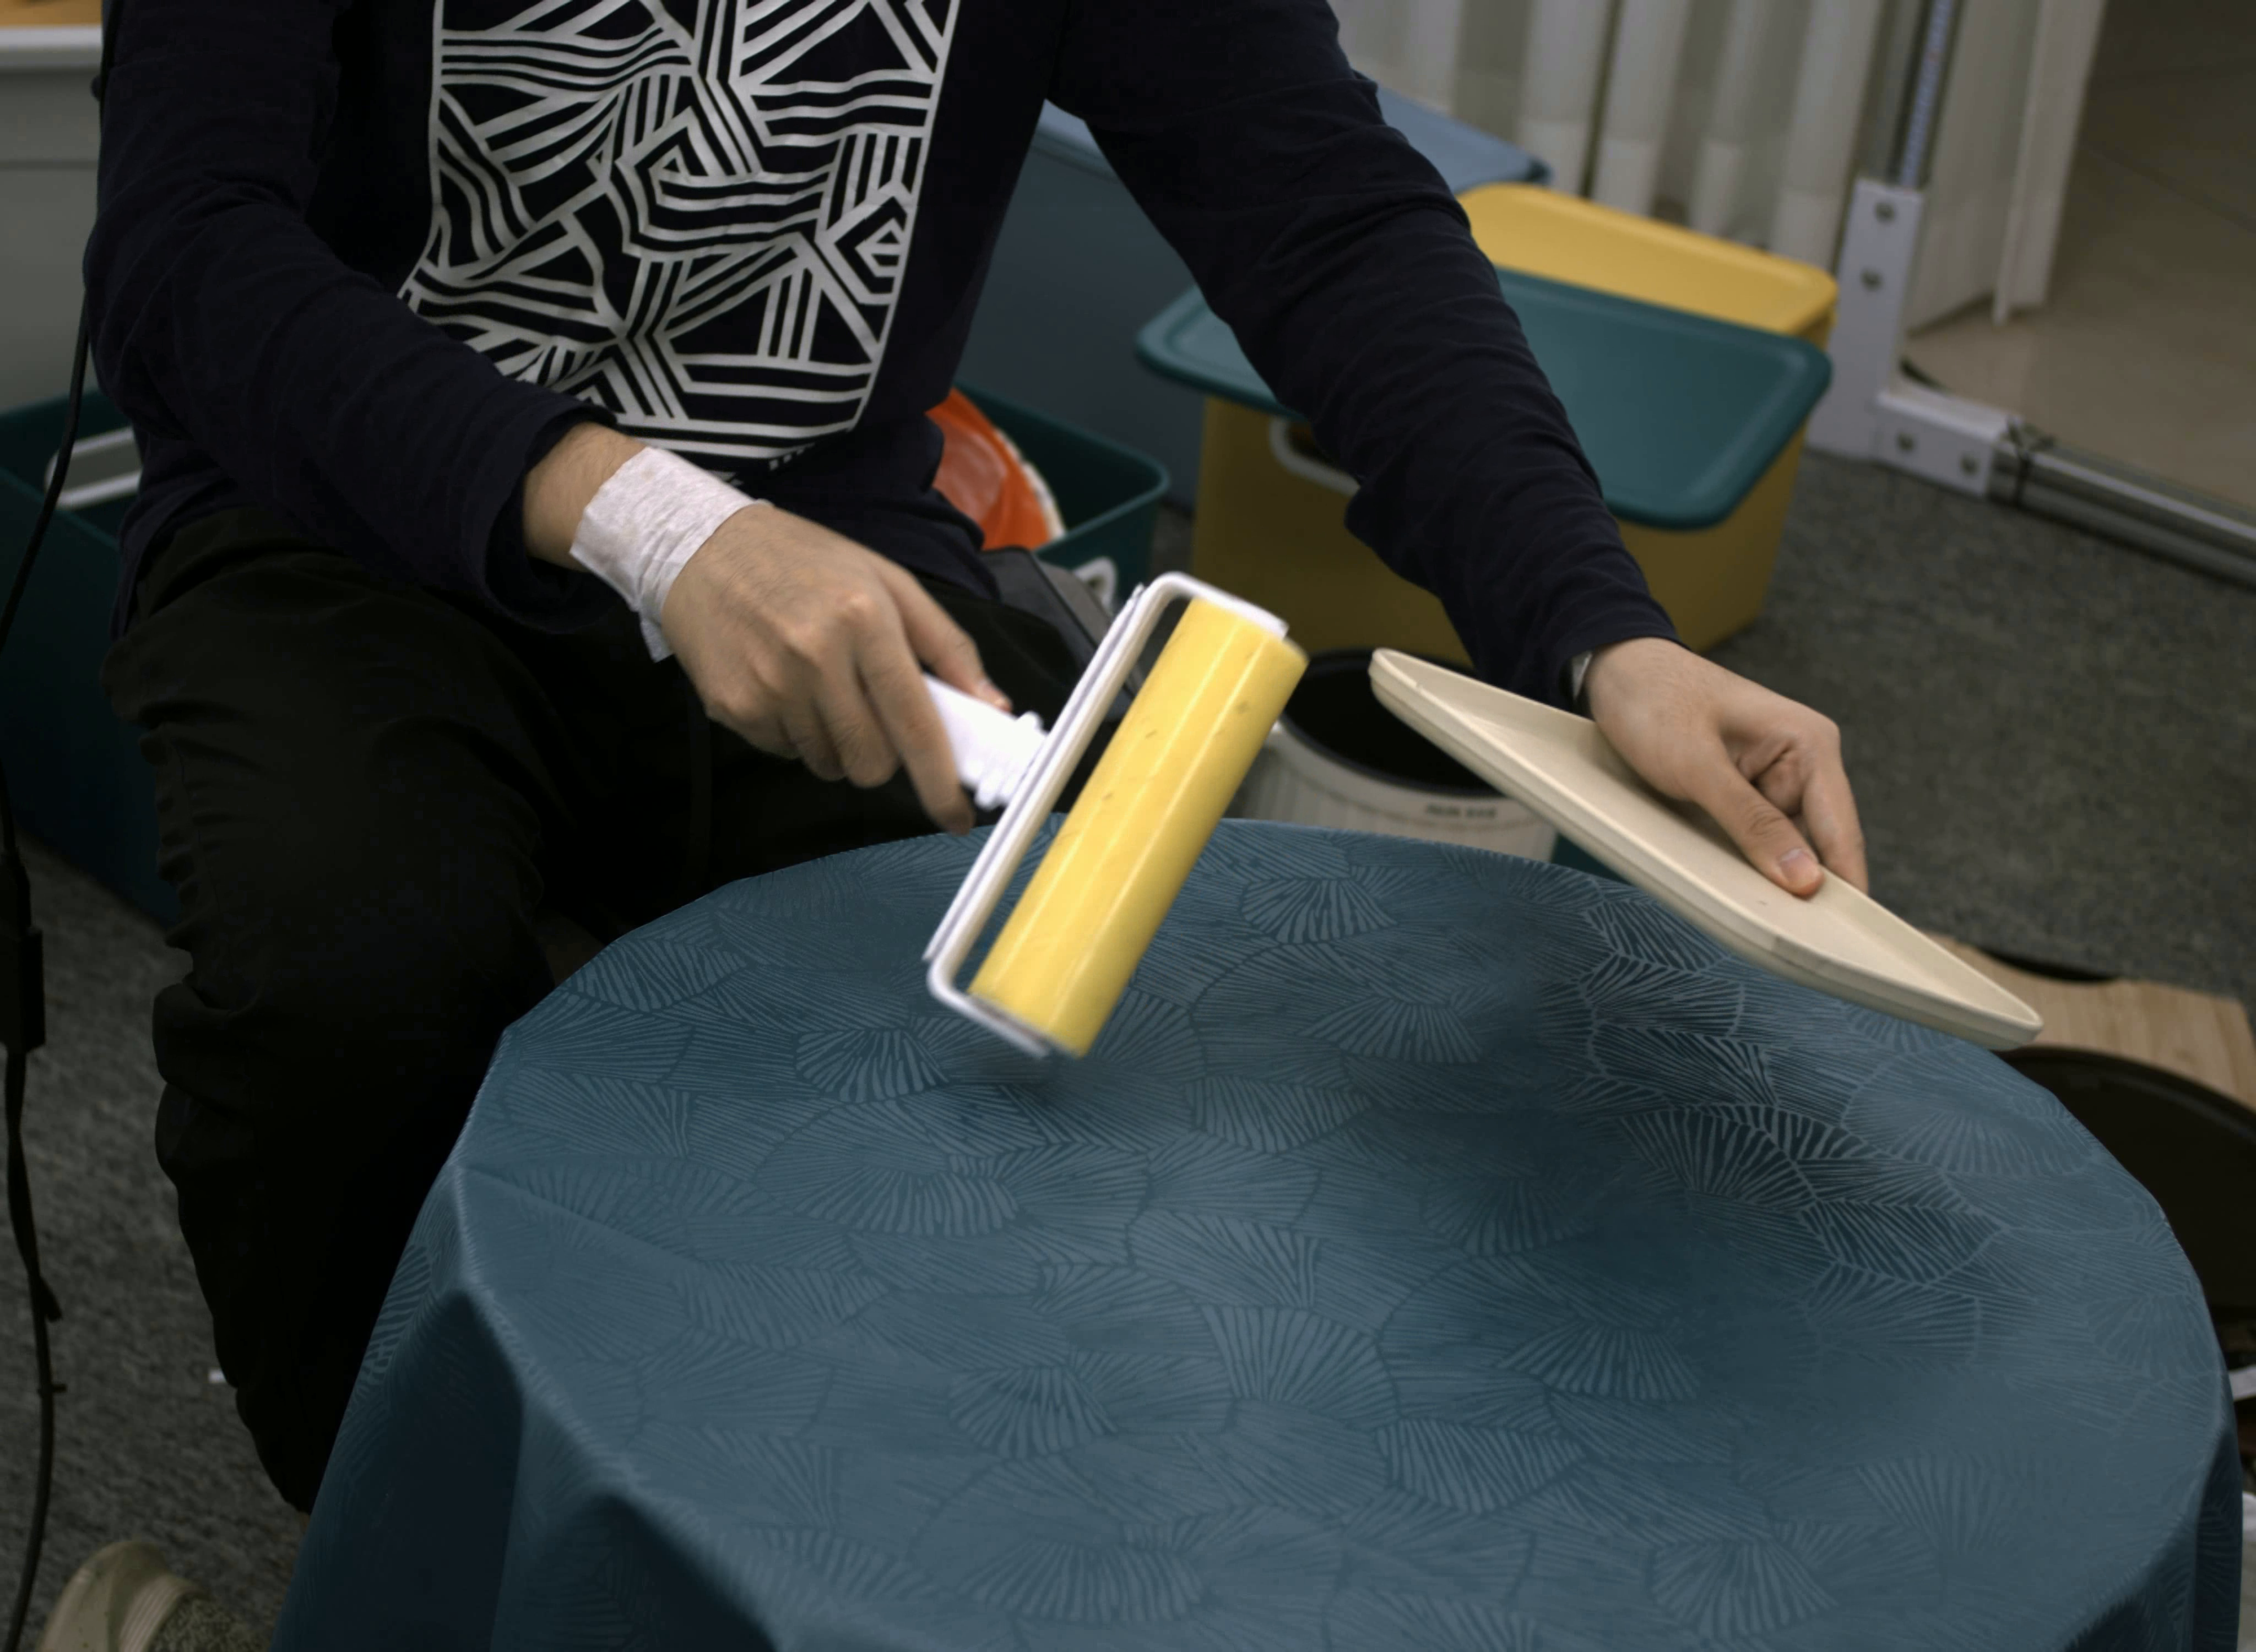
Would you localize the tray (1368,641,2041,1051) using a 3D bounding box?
[{"bbox_3d":[0.196,0.008,1.847,0.169,0.017,0.242,19,13,-44],"label":"tray"}]

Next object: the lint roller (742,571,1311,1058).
[{"bbox_3d":[-0.056,-0.031,1.880,0.192,0.174,0.051,26,-8,13],"label":"lint roller"}]
